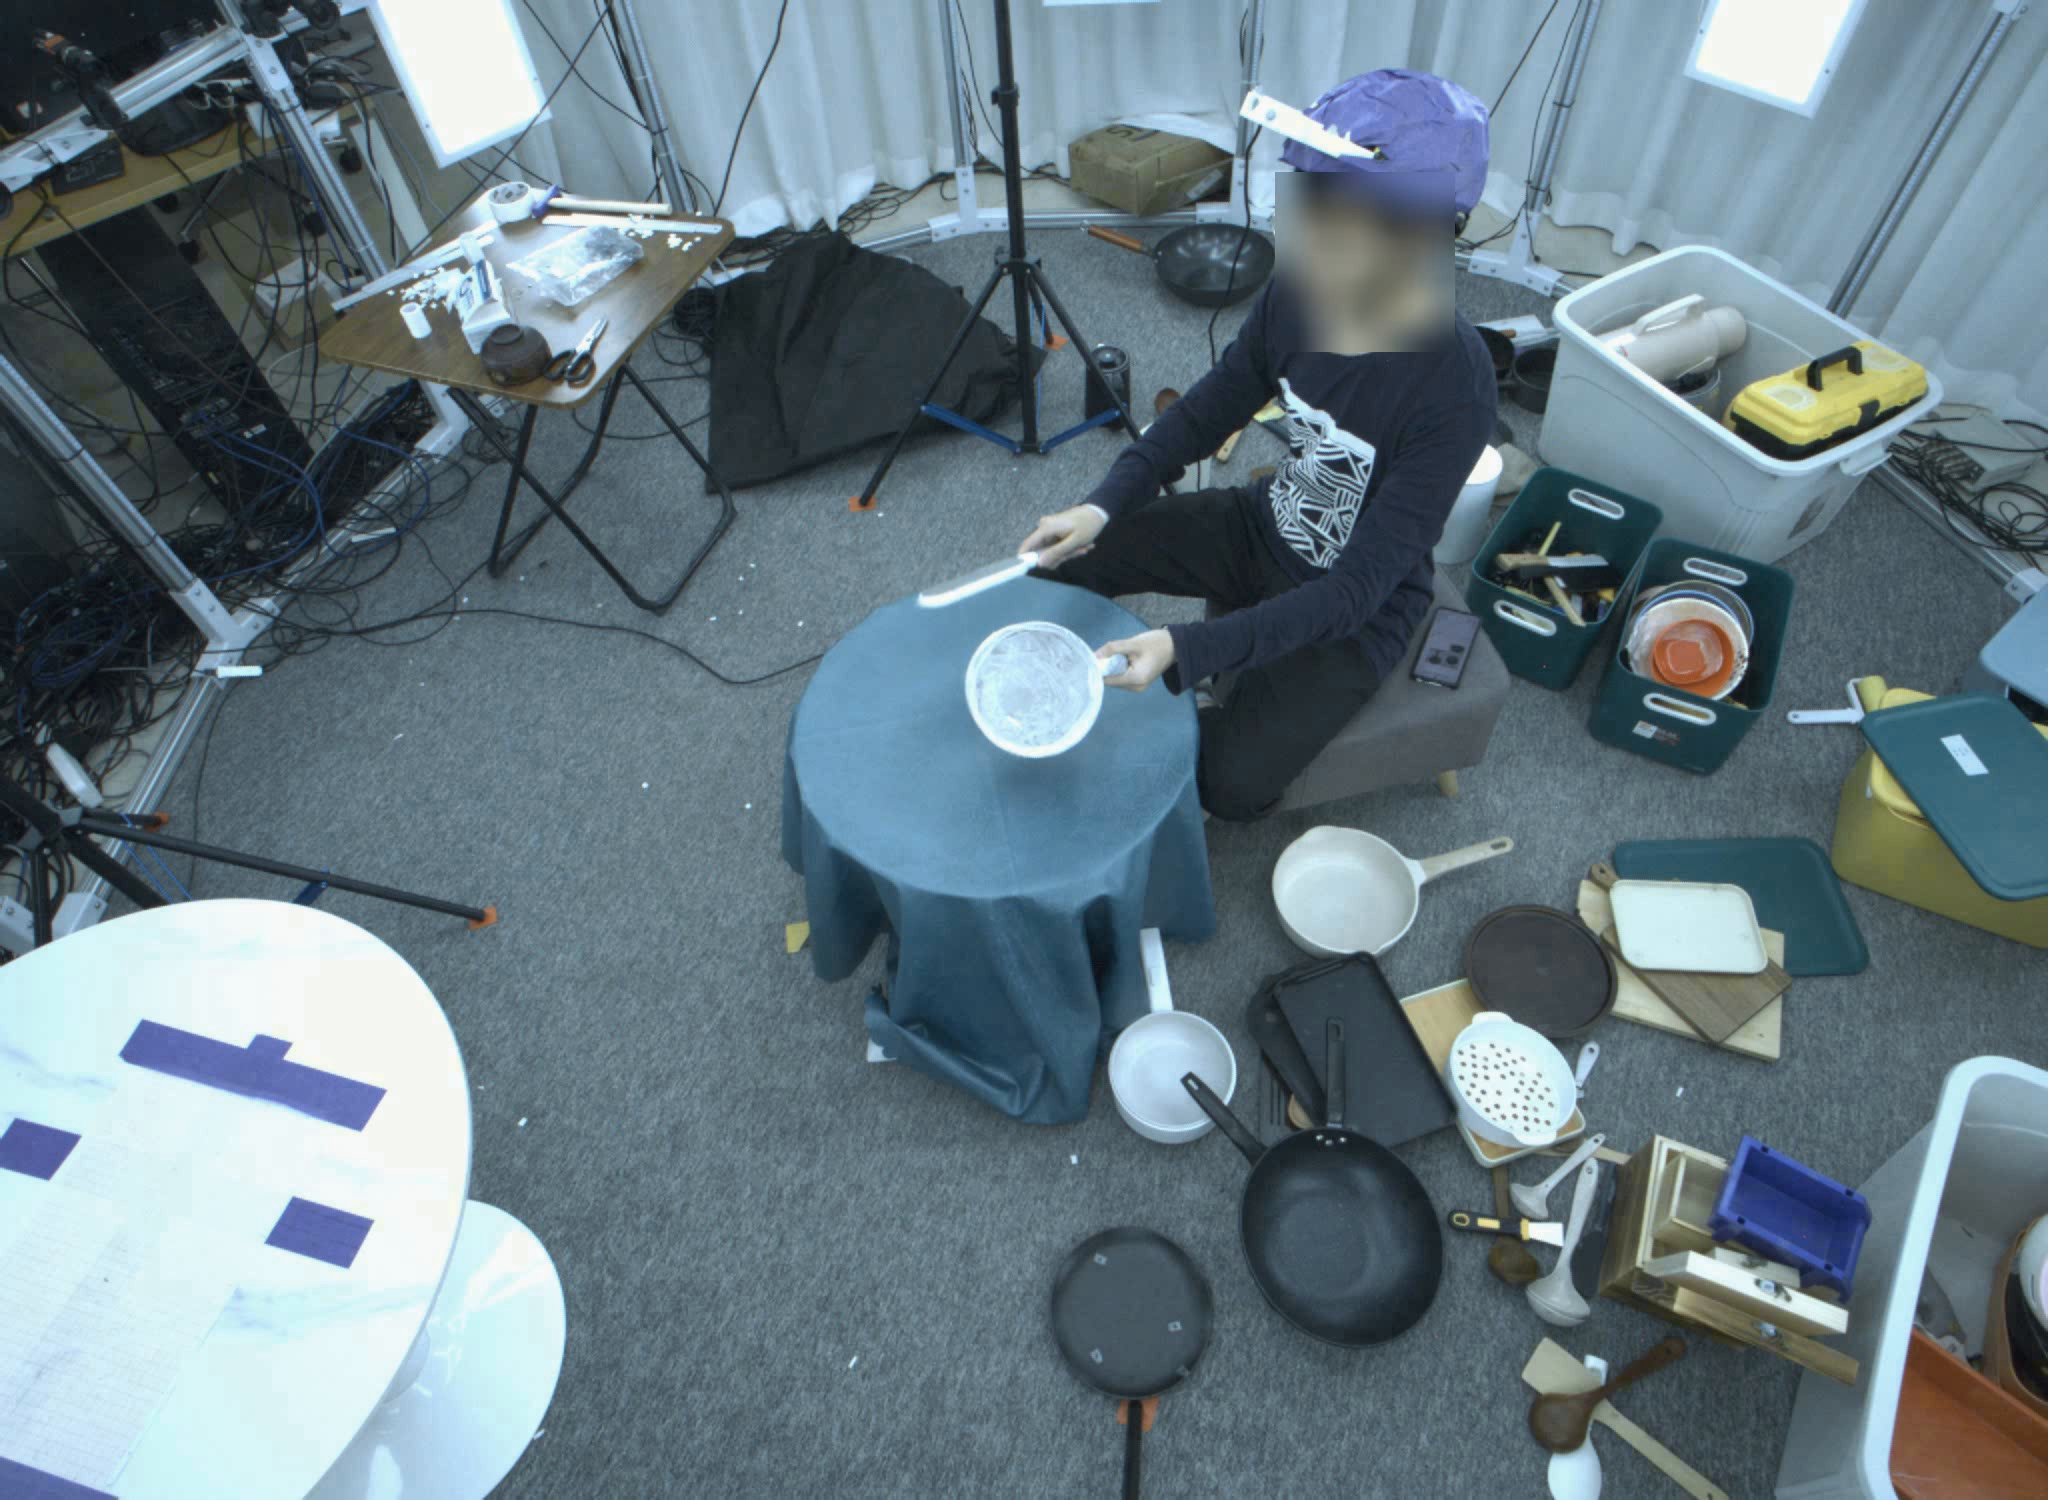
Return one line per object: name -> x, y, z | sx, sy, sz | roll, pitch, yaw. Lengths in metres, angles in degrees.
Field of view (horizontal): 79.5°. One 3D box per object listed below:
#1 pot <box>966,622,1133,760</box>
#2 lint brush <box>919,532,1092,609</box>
pot -> 0.037, -0.091, 1.660 | 0.234, 0.135, 0.179 | -17, 100, -4
lint brush -> -0.022, -0.267, 1.808 | 0.313, 0.021, 0.058 | -26, 25, -28
